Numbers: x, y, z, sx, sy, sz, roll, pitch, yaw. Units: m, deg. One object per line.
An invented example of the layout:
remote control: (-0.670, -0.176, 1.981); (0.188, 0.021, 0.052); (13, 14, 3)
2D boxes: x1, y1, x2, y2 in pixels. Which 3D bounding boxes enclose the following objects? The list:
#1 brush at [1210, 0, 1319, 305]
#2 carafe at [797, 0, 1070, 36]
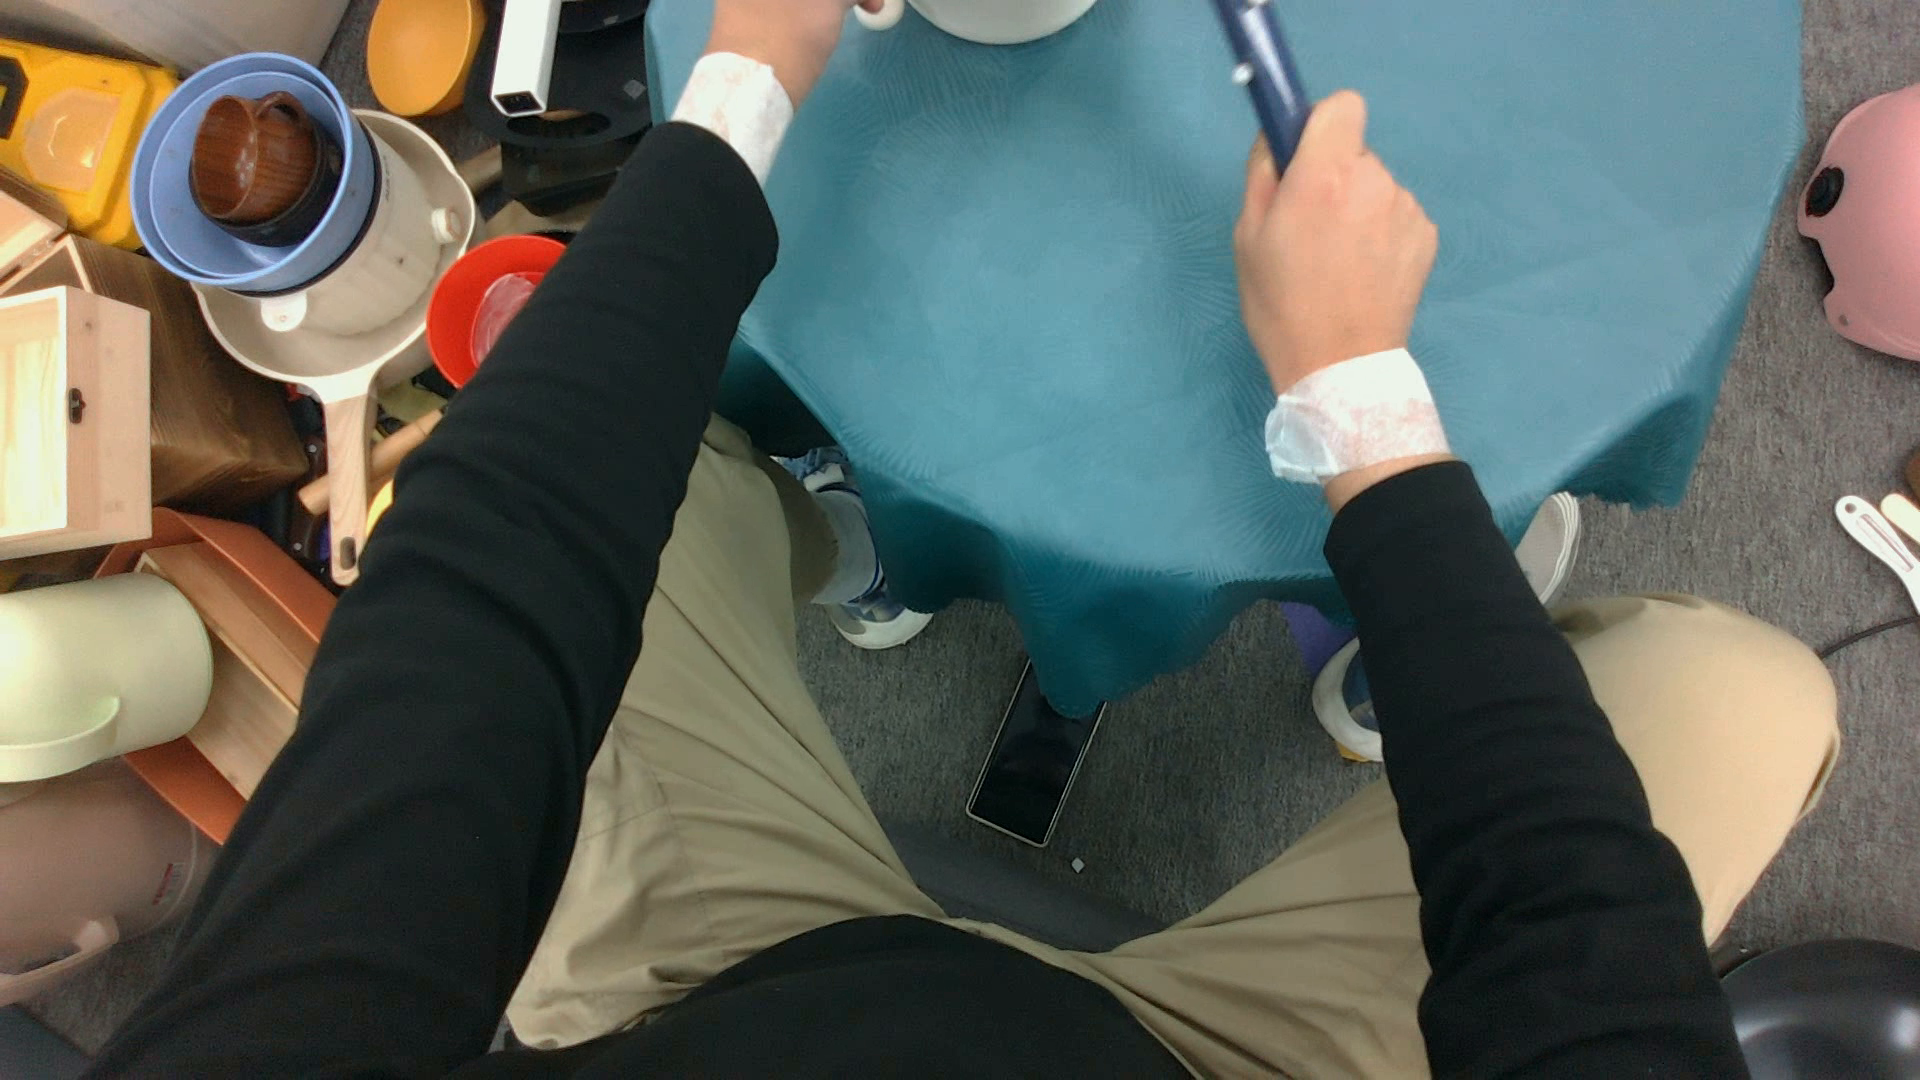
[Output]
brush: (0.122, -0.228, 0.586); (0.033, 0.095, 0.272); (-46, 118, -31)
carafe: (-0.008, -0.323, 0.654); (0.191, 0.182, 0.132); (-41, 83, -2)
